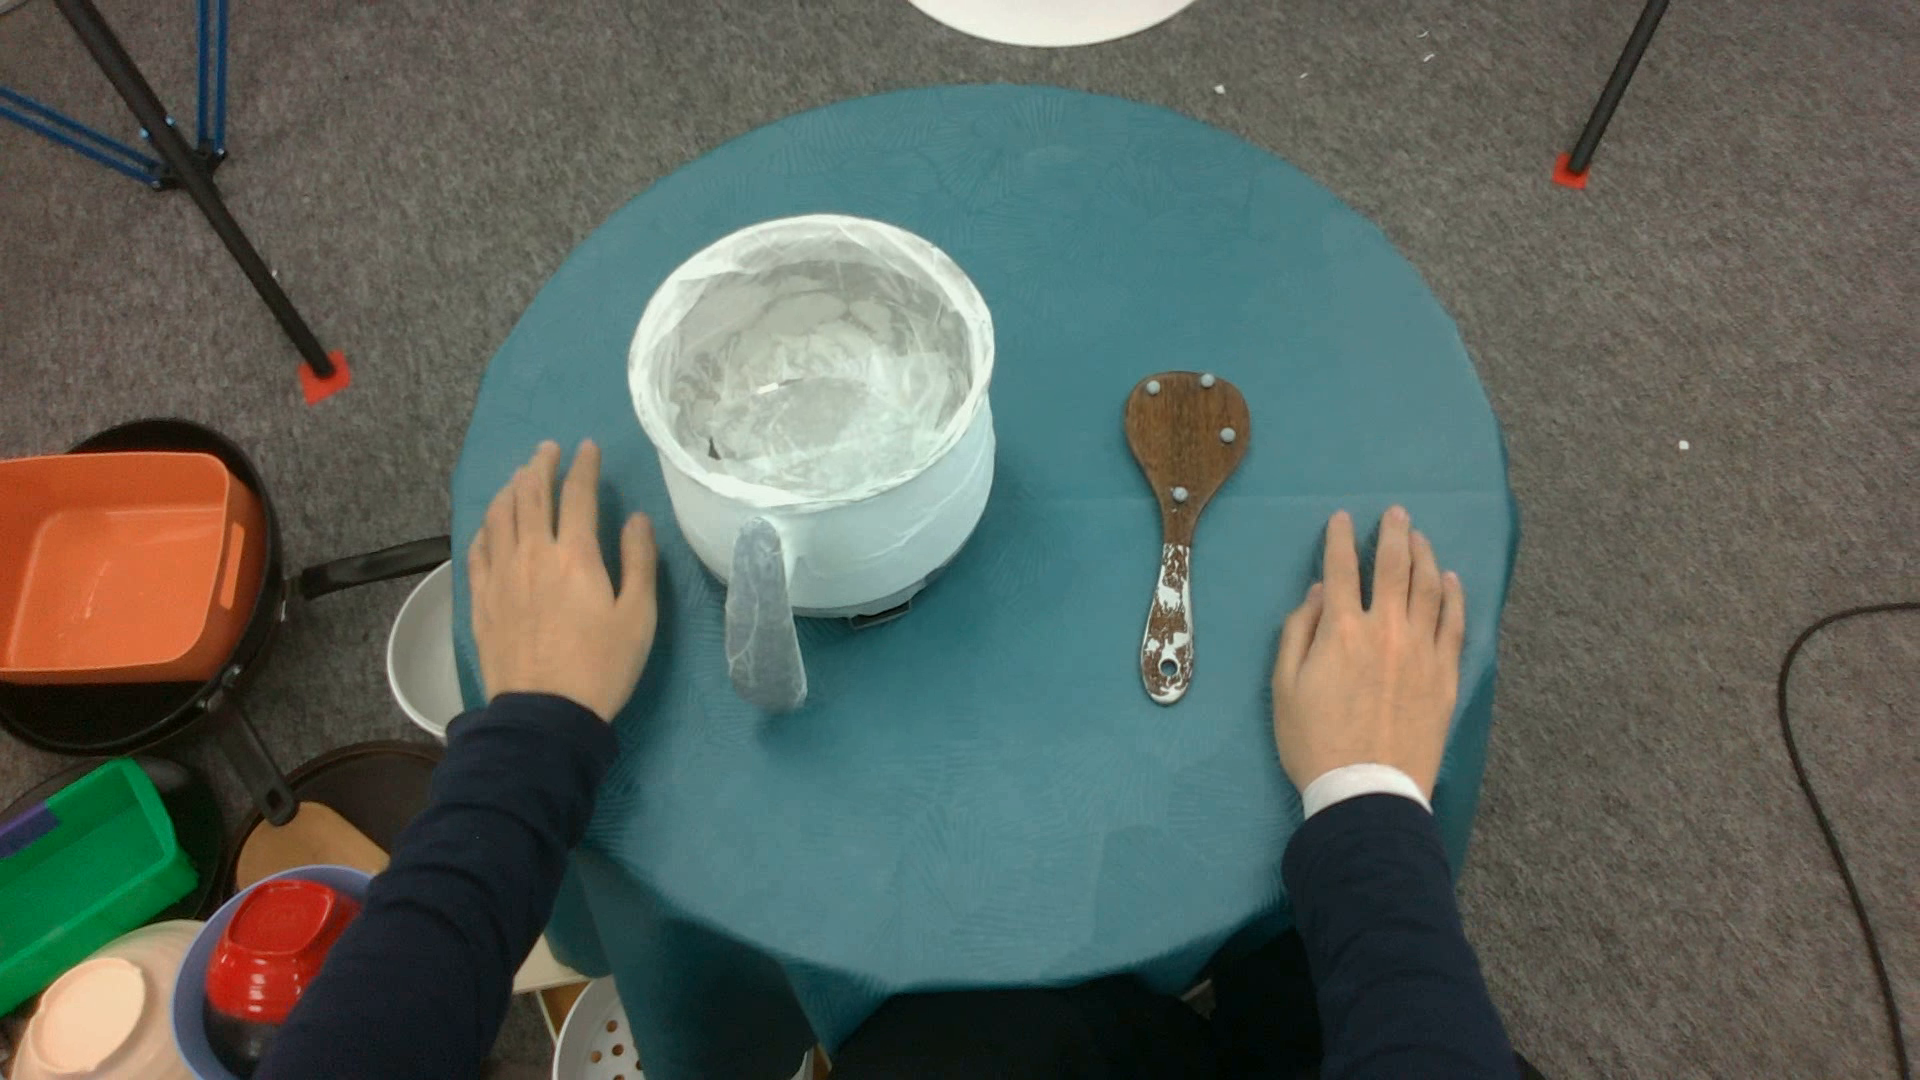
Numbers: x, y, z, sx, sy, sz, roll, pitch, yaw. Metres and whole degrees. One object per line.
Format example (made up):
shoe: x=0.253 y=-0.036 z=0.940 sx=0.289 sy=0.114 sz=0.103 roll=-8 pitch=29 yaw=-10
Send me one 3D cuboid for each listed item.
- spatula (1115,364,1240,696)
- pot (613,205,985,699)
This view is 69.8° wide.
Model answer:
spatula: x=0.115 y=-0.013 z=0.764 sx=0.072 sy=0.009 sz=0.216 roll=6 pitch=61 yaw=6
pot: x=-0.080 y=-0.042 z=0.705 sx=0.178 sy=0.136 sz=0.235 roll=6 pitch=58 yaw=7
